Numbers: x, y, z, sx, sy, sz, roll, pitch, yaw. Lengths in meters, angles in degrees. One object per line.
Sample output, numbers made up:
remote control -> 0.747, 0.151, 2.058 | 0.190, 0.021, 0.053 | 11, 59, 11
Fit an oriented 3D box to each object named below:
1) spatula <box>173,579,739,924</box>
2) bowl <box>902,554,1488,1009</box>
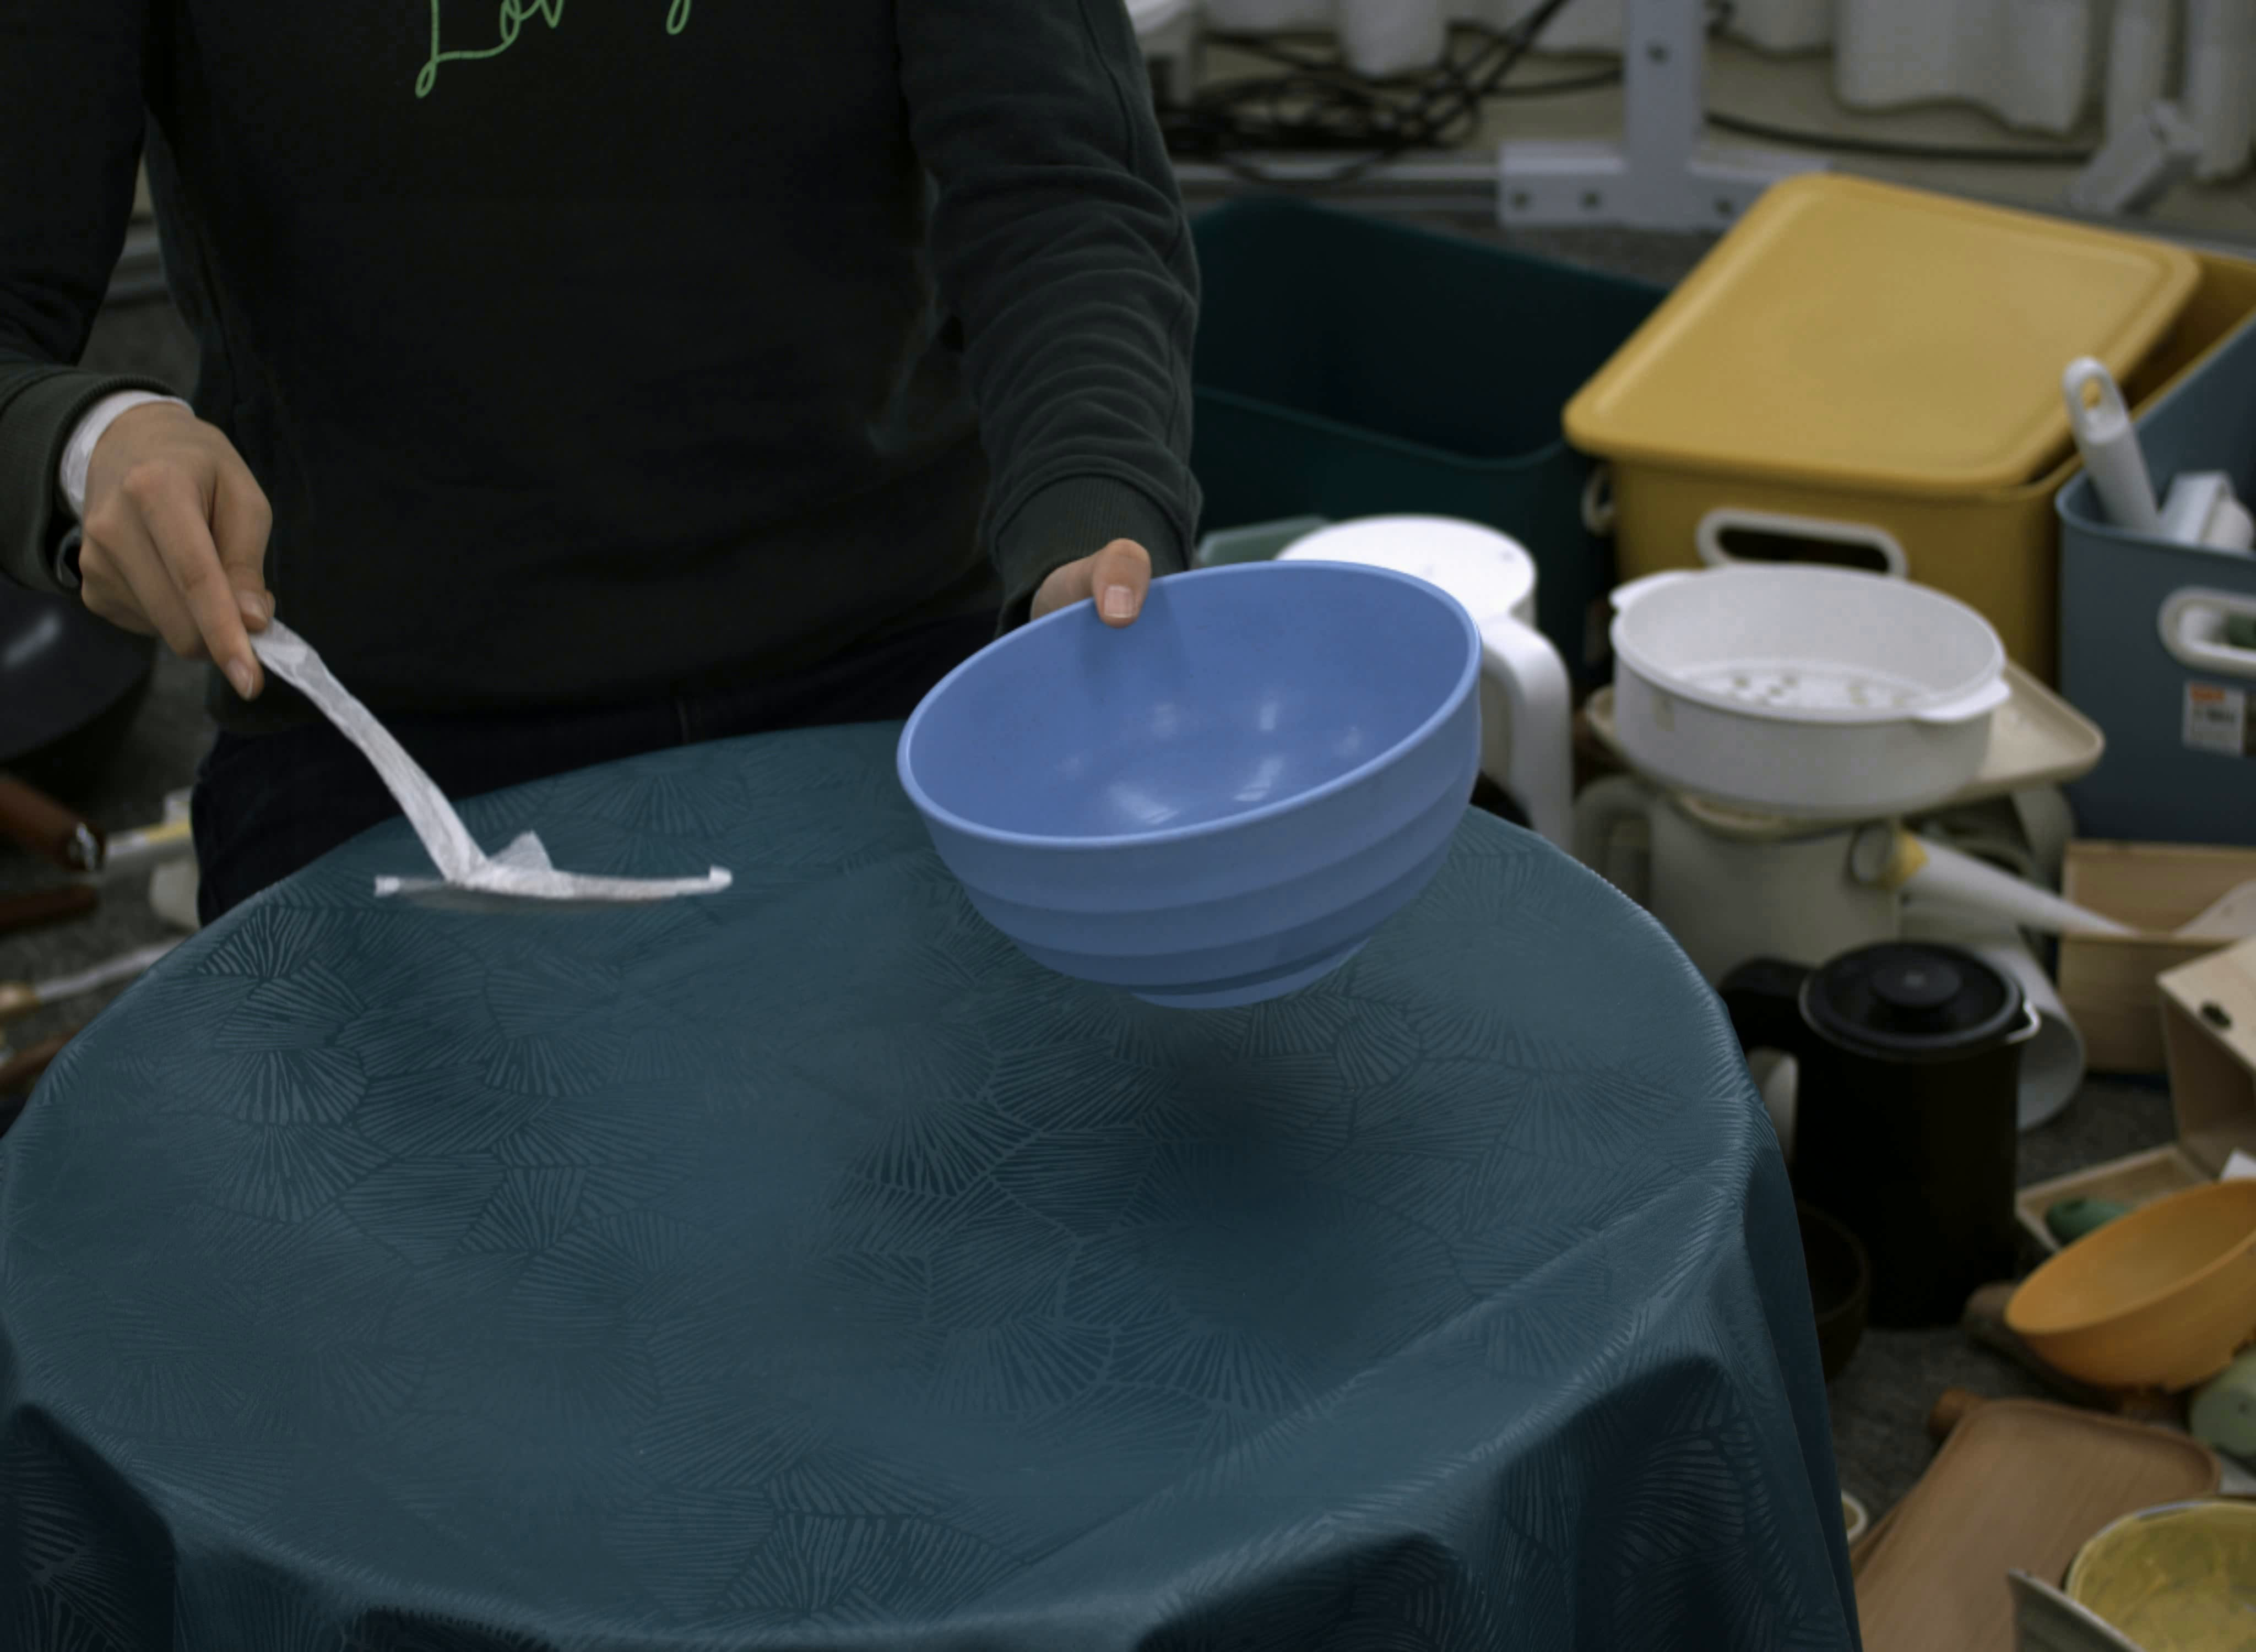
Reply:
spatula -> -0.240, -0.031, 1.803 | 0.099, 0.044, 0.366 | -2, 24, -31
bowl -> 0.030, -0.003, 1.859 | 0.195, 0.094, 0.199 | -10, 27, 6
